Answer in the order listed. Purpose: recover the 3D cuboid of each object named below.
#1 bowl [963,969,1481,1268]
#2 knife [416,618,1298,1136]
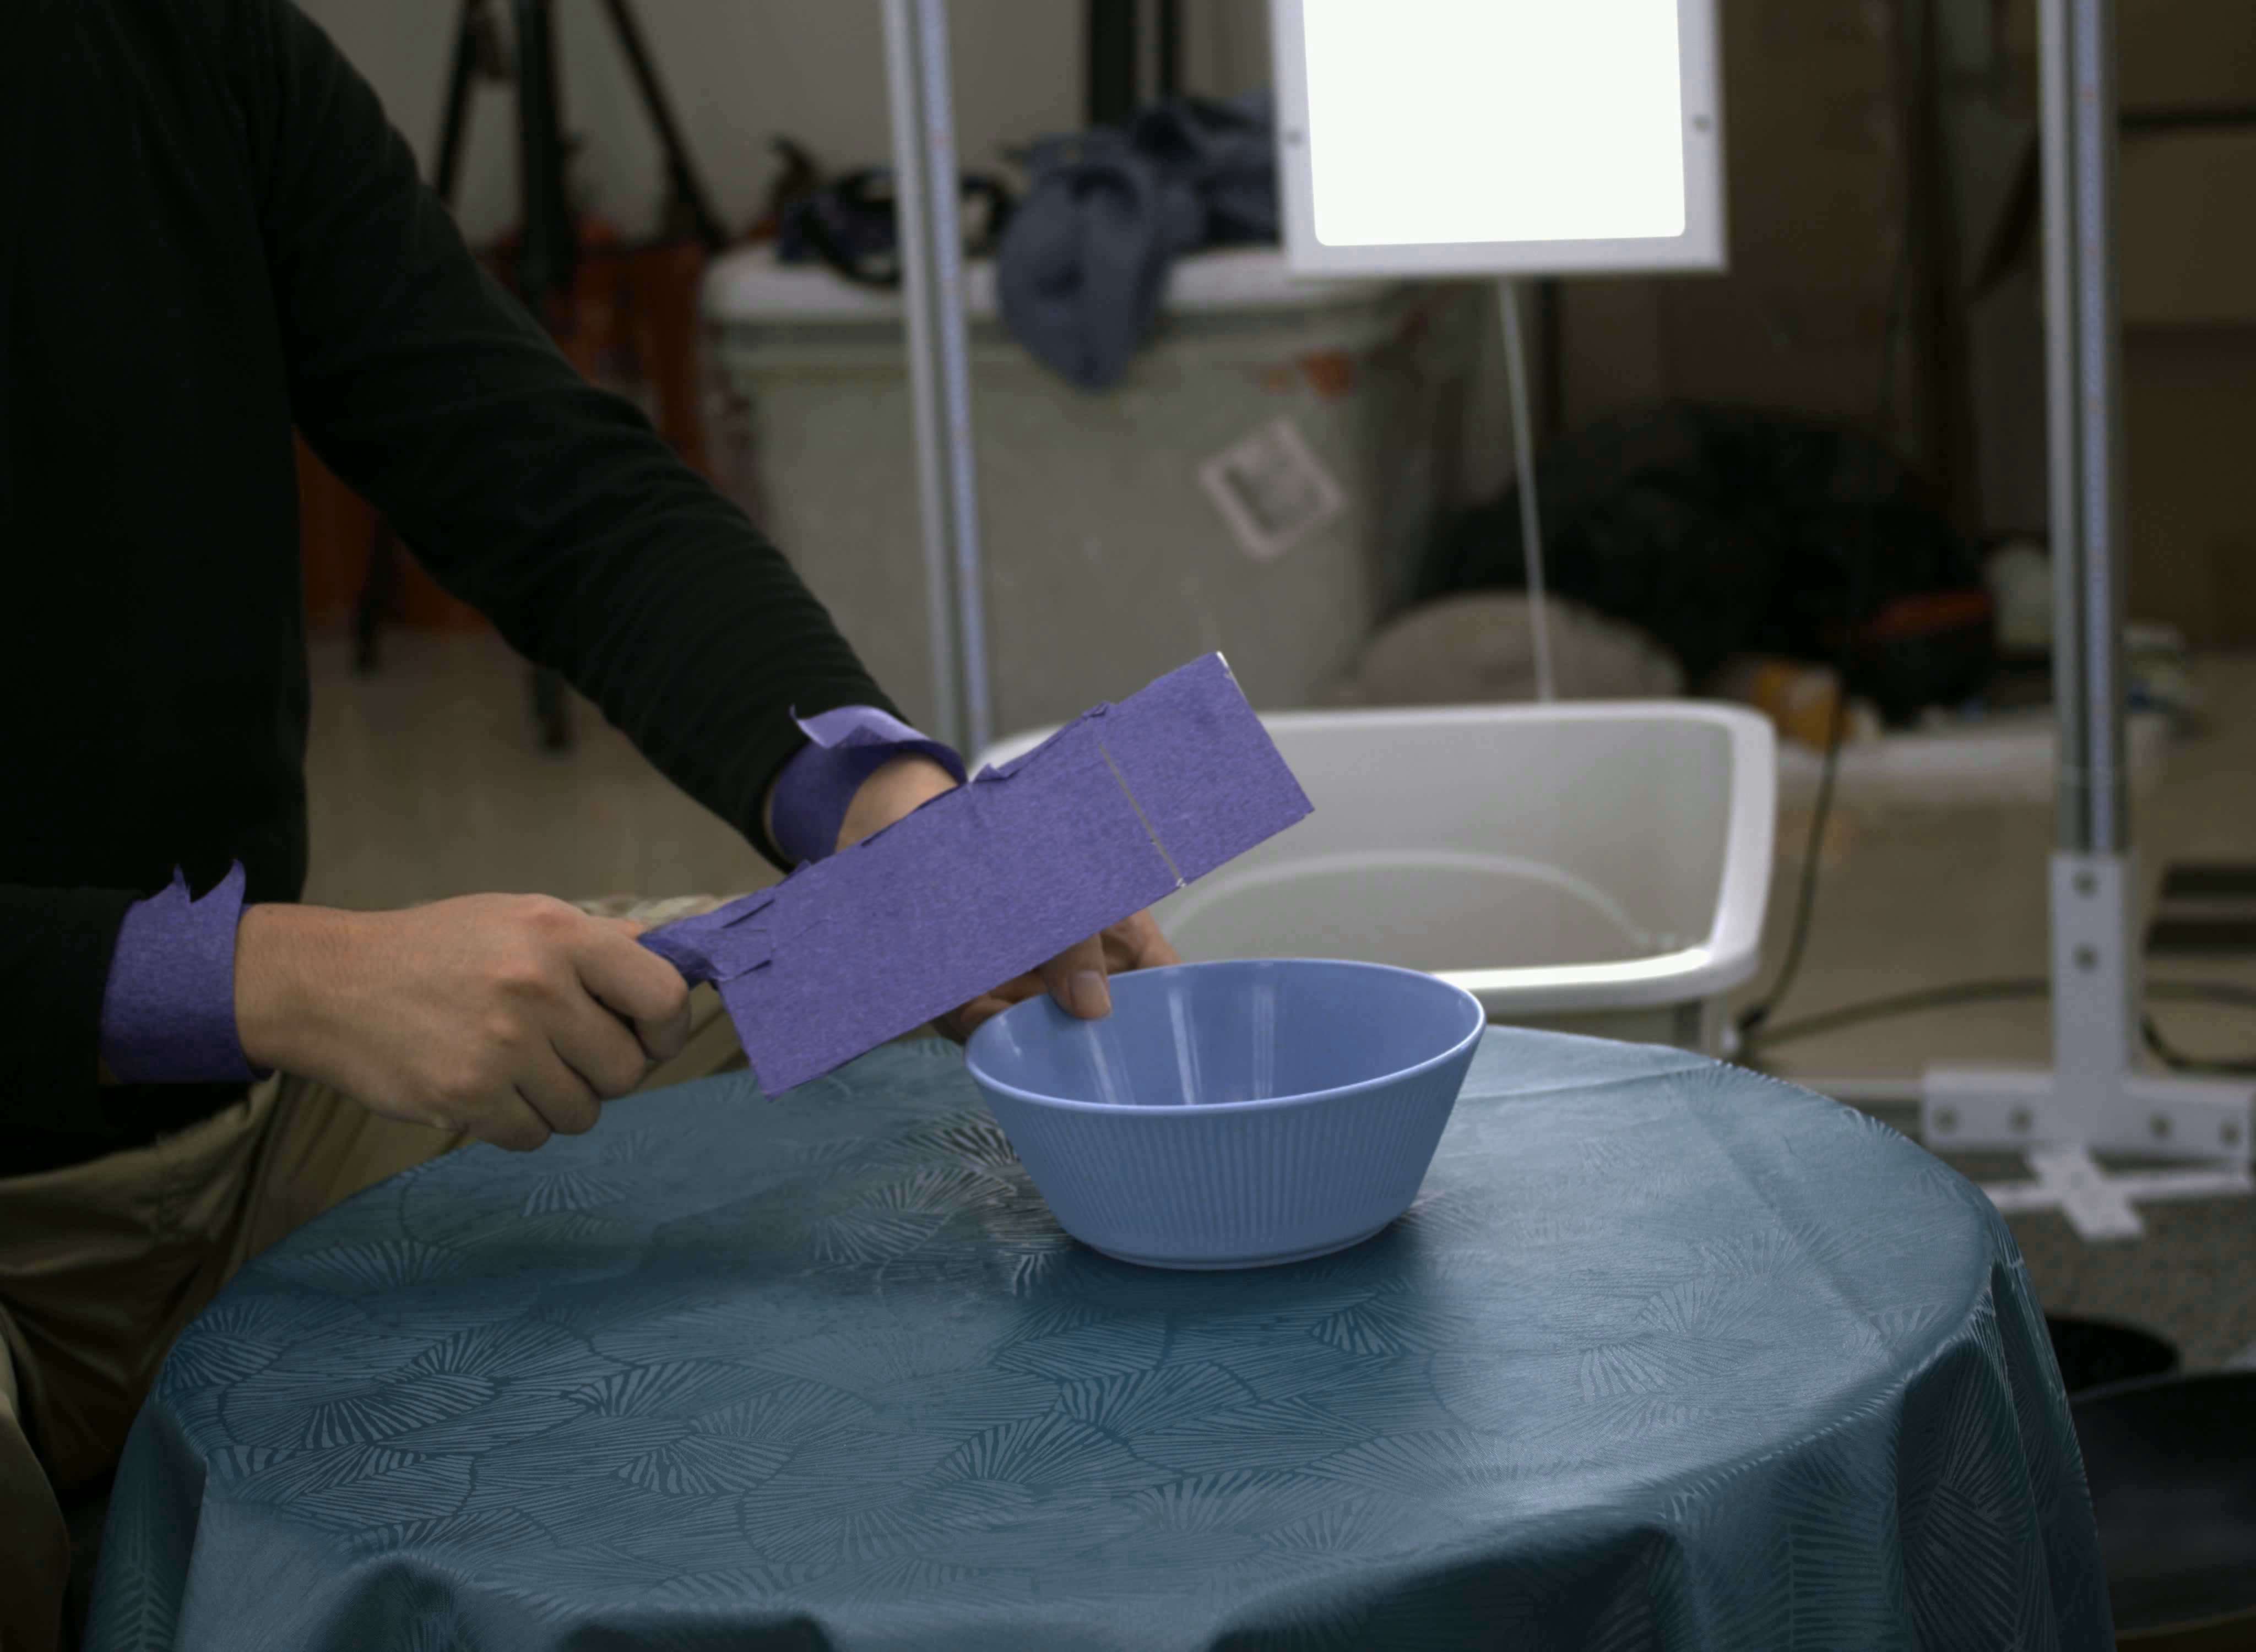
[{"bbox_3d":[0.034,0.100,1.847,0.175,0.070,0.176,-5,12,0],"label":"bowl"},{"bbox_3d":[-0.092,0.035,1.859,0.316,0.032,0.104,-30,45,4],"label":"knife"}]
